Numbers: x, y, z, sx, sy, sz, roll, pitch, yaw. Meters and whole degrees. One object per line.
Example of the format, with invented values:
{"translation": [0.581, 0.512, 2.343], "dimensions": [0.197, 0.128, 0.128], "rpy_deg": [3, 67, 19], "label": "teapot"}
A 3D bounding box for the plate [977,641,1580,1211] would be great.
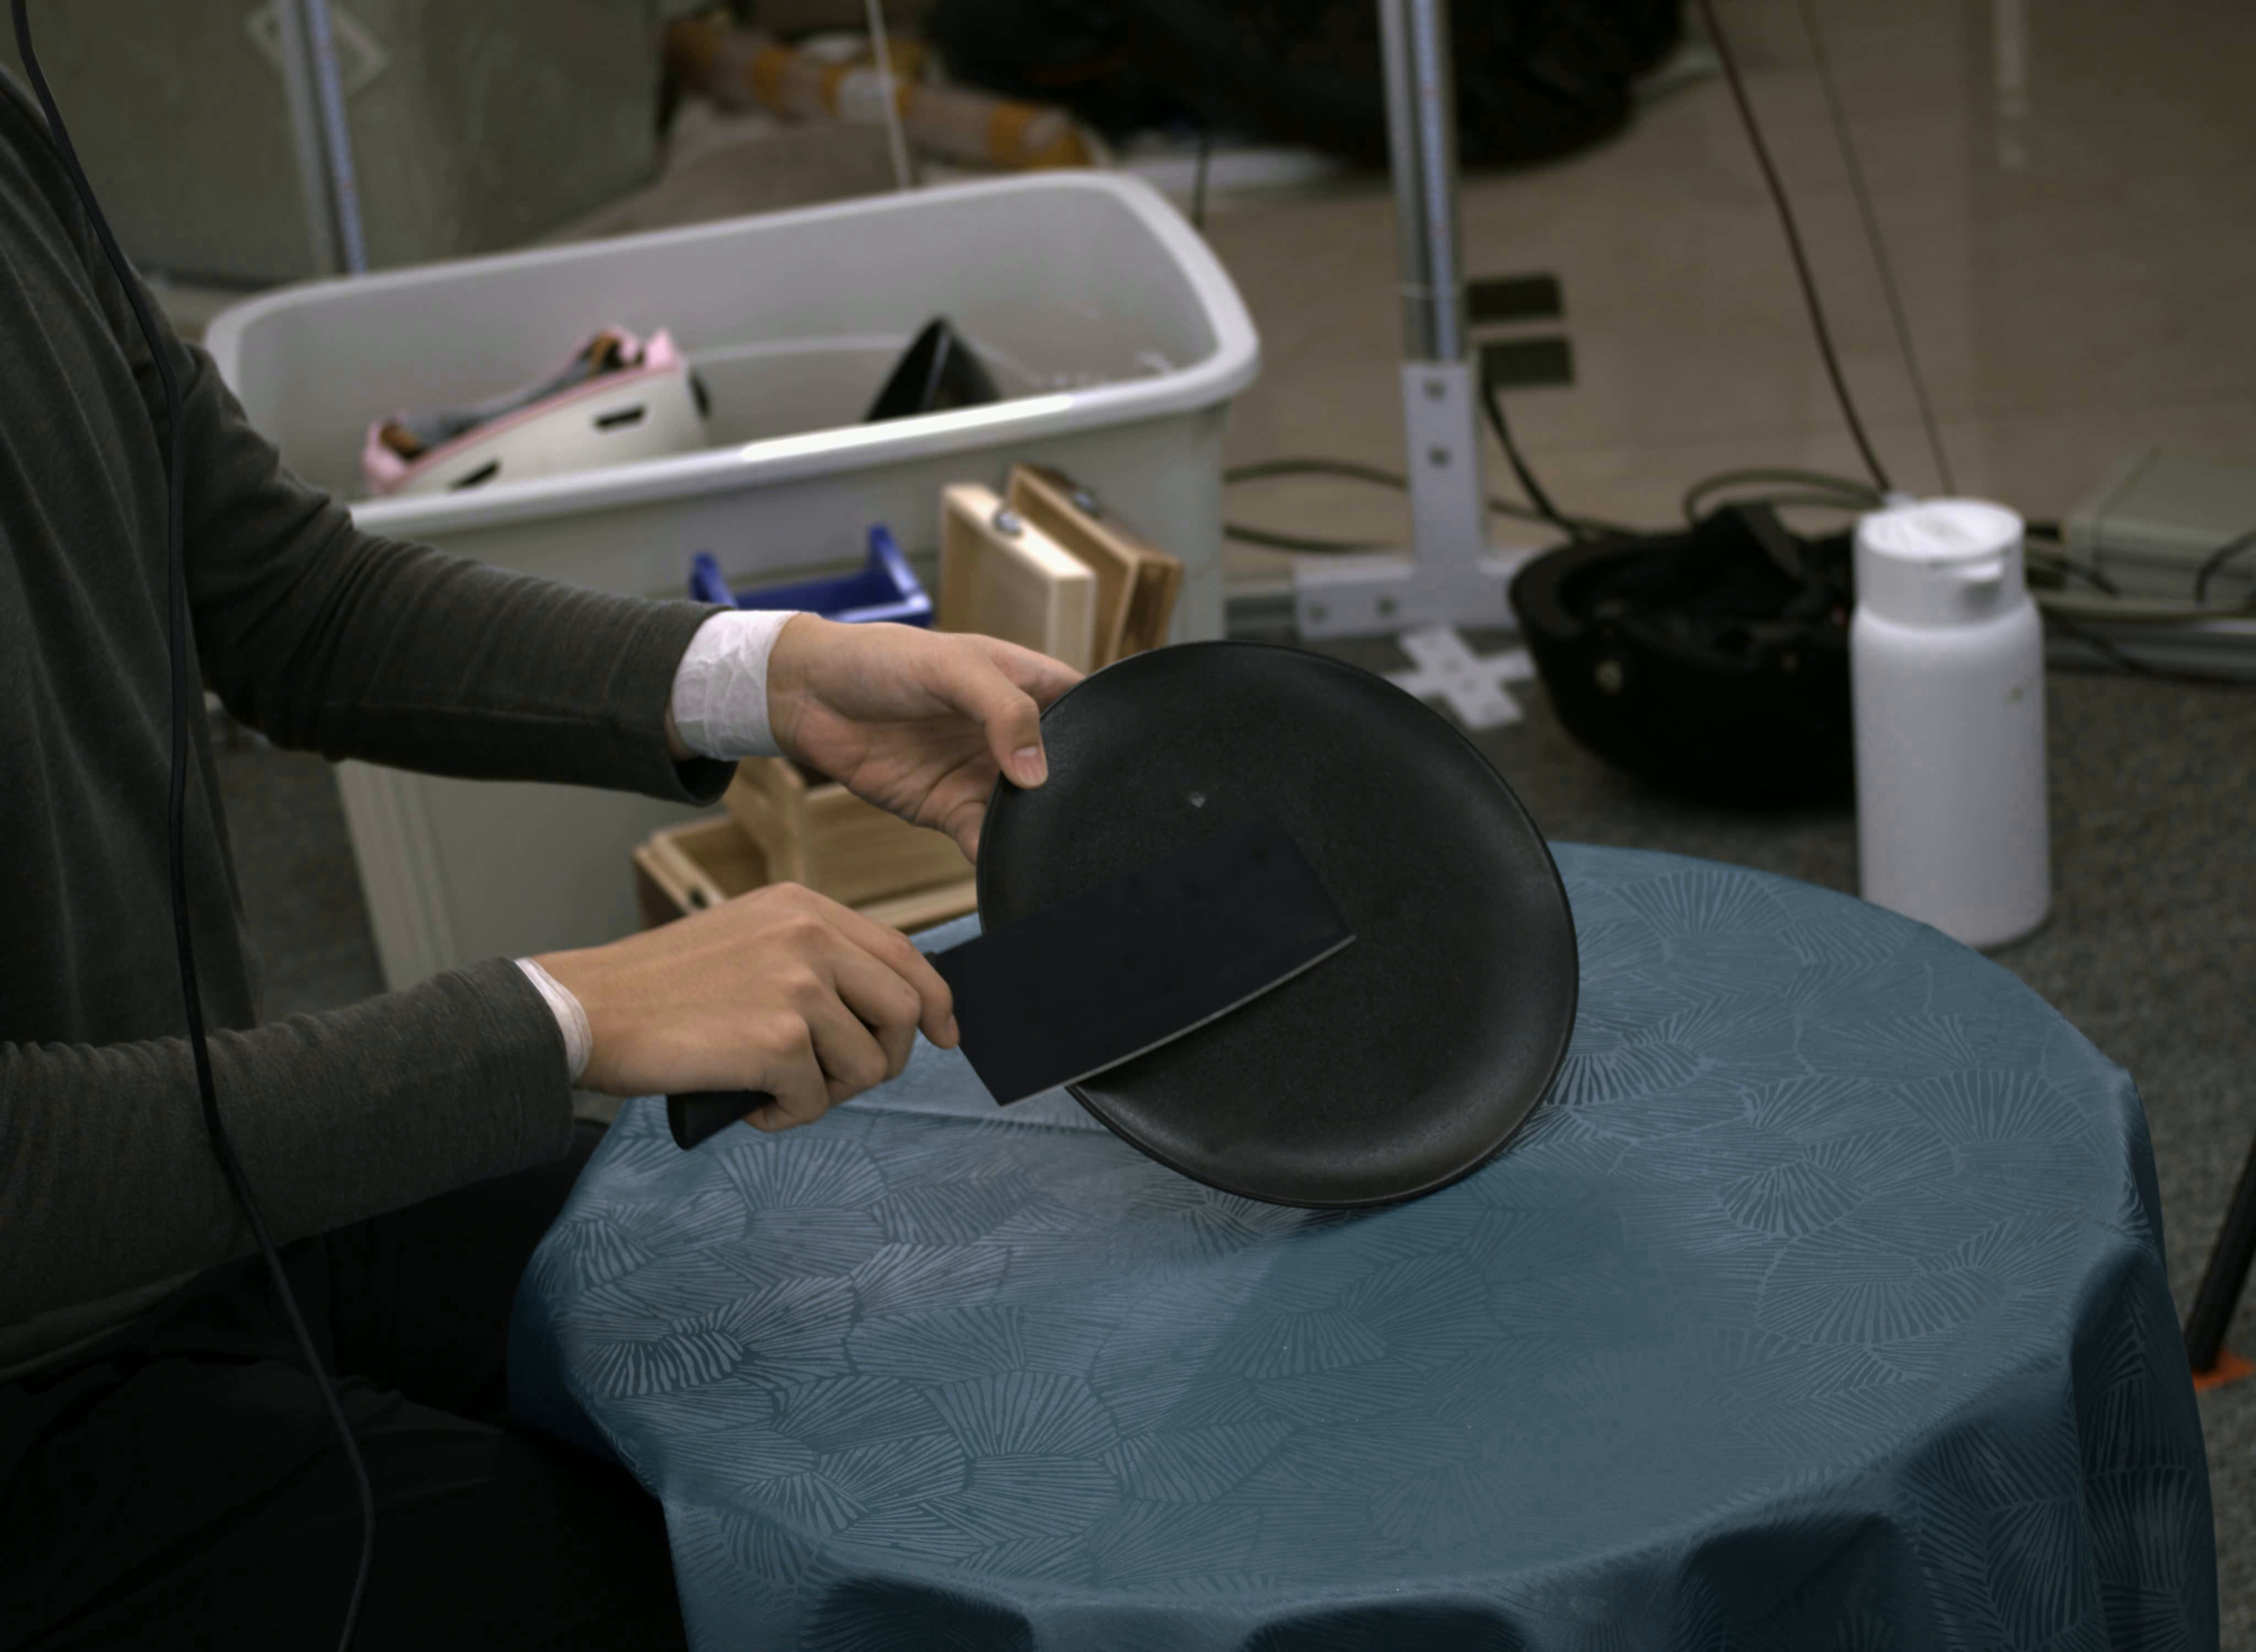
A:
{"translation": [0.056, 0.040, 2.166], "dimensions": [0.244, 0.024, 0.241], "rpy_deg": [9, 61, -16], "label": "plate"}

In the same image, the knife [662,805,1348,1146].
{"translation": [-0.045, 0.062, 2.103], "dimensions": [0.300, 0.021, 0.080], "rpy_deg": [-18, 71, -32], "label": "knife"}
